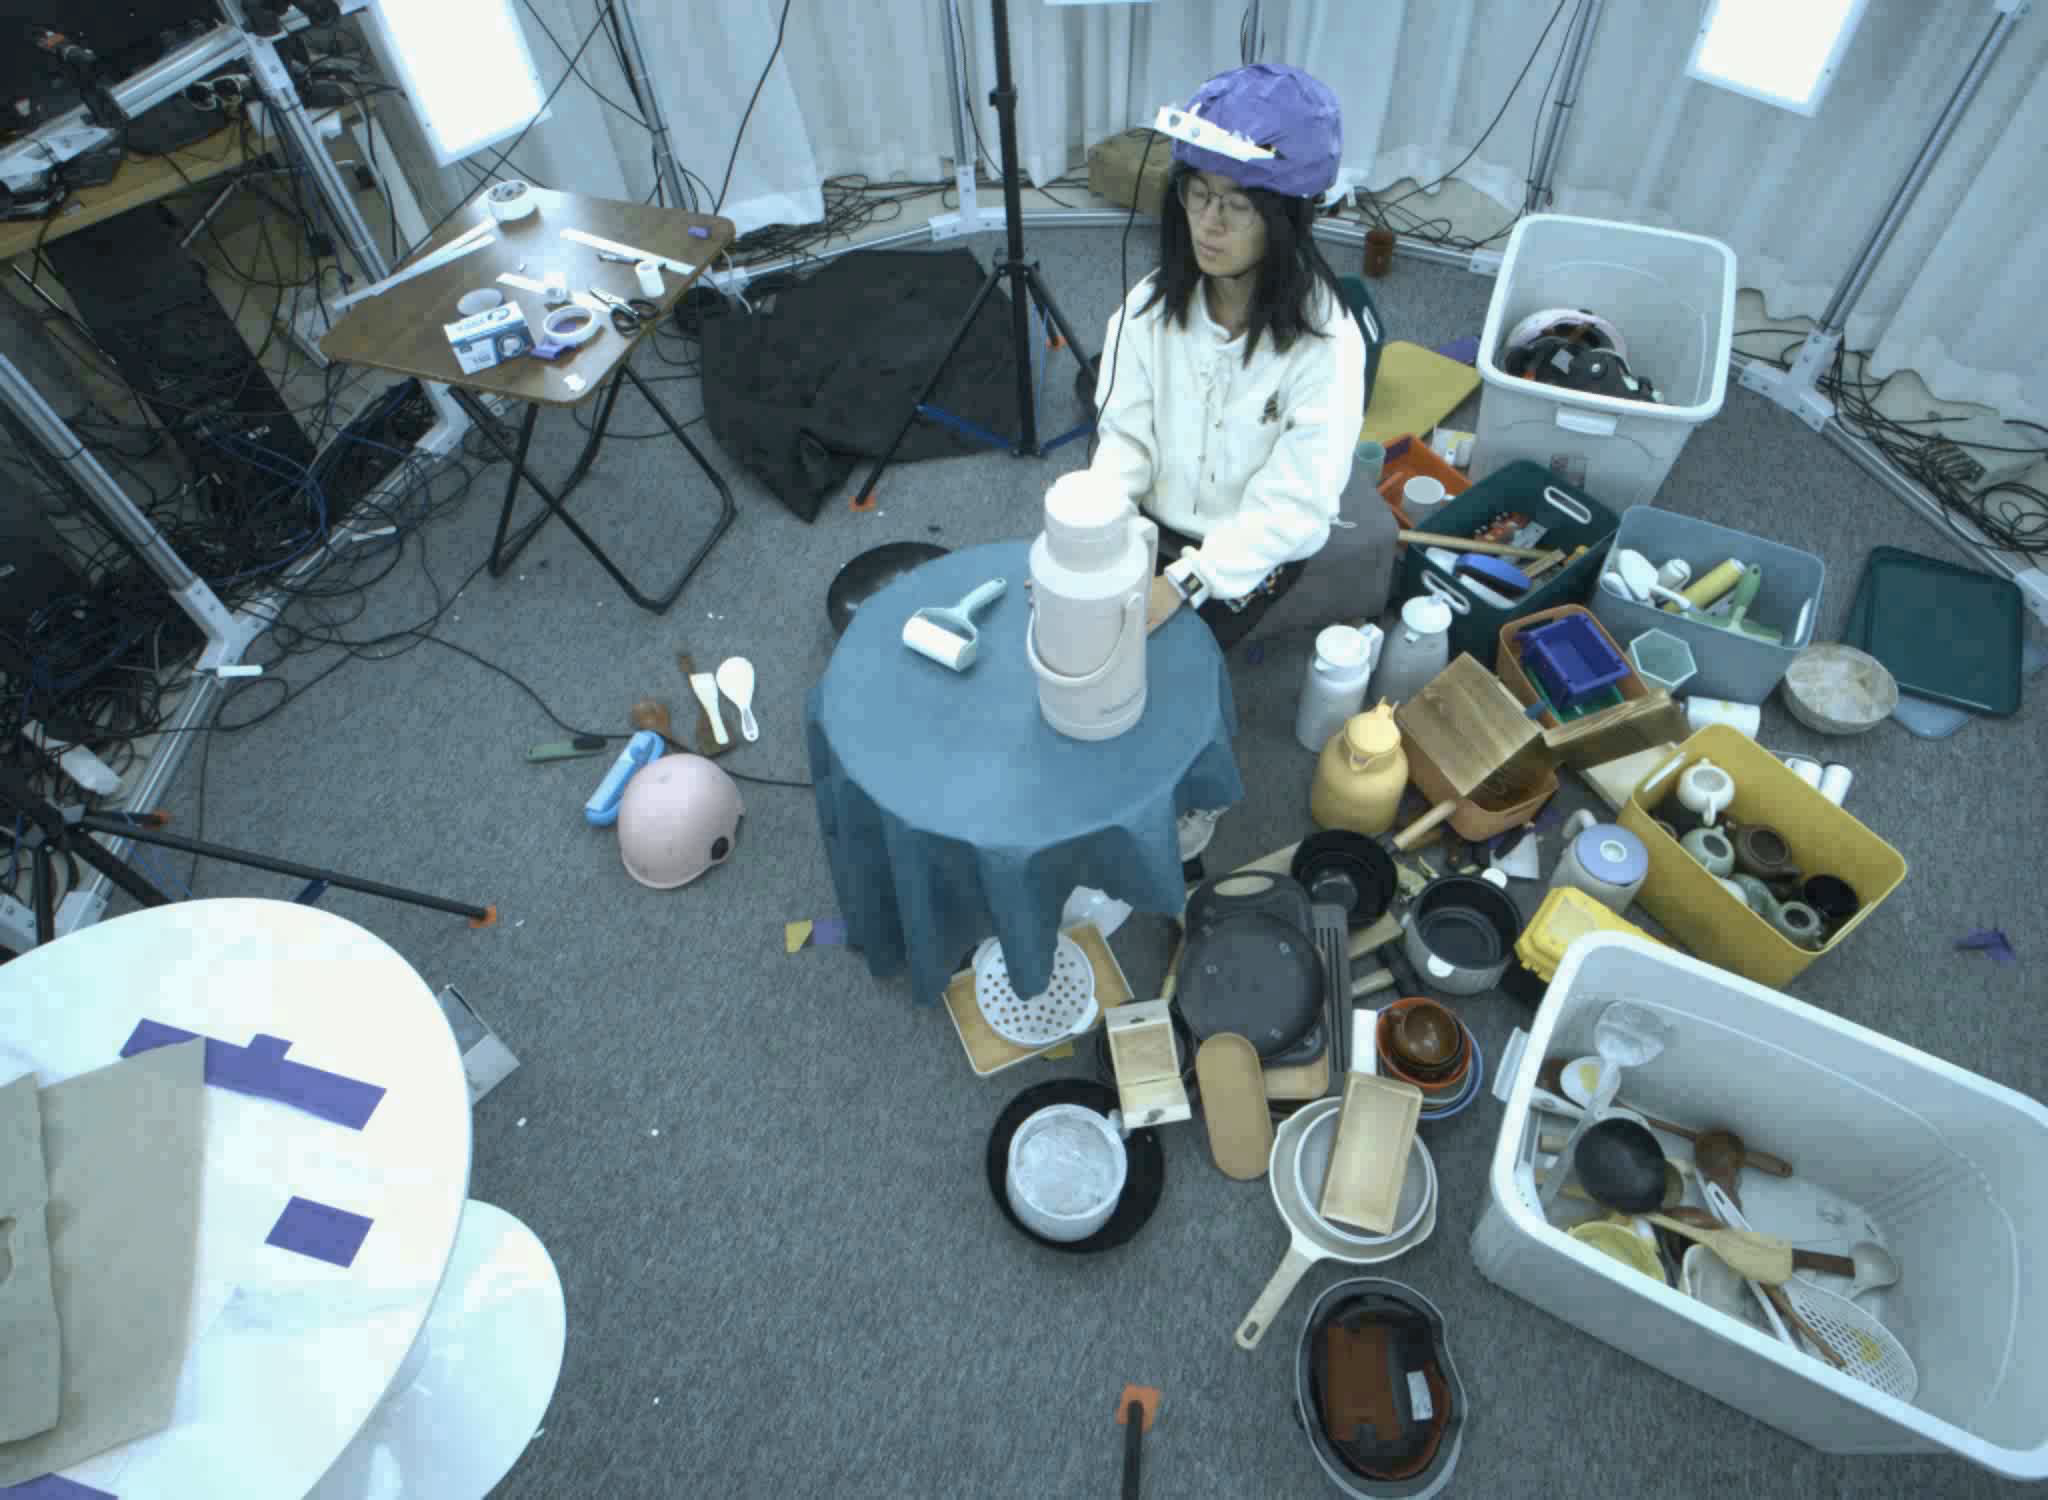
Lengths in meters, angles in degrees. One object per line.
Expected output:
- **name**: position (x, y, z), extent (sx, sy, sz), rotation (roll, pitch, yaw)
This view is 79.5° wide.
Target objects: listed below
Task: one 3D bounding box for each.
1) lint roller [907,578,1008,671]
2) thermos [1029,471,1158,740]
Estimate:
- **lint roller**: position (-0.084, -0.211, 1.909), extent (0.115, 0.049, 0.198), rotation (27, 60, 22)
- **thermos**: position (0.100, -0.200, 1.682), extent (0.208, 0.411, 0.172), rotation (-37, 60, -21)
